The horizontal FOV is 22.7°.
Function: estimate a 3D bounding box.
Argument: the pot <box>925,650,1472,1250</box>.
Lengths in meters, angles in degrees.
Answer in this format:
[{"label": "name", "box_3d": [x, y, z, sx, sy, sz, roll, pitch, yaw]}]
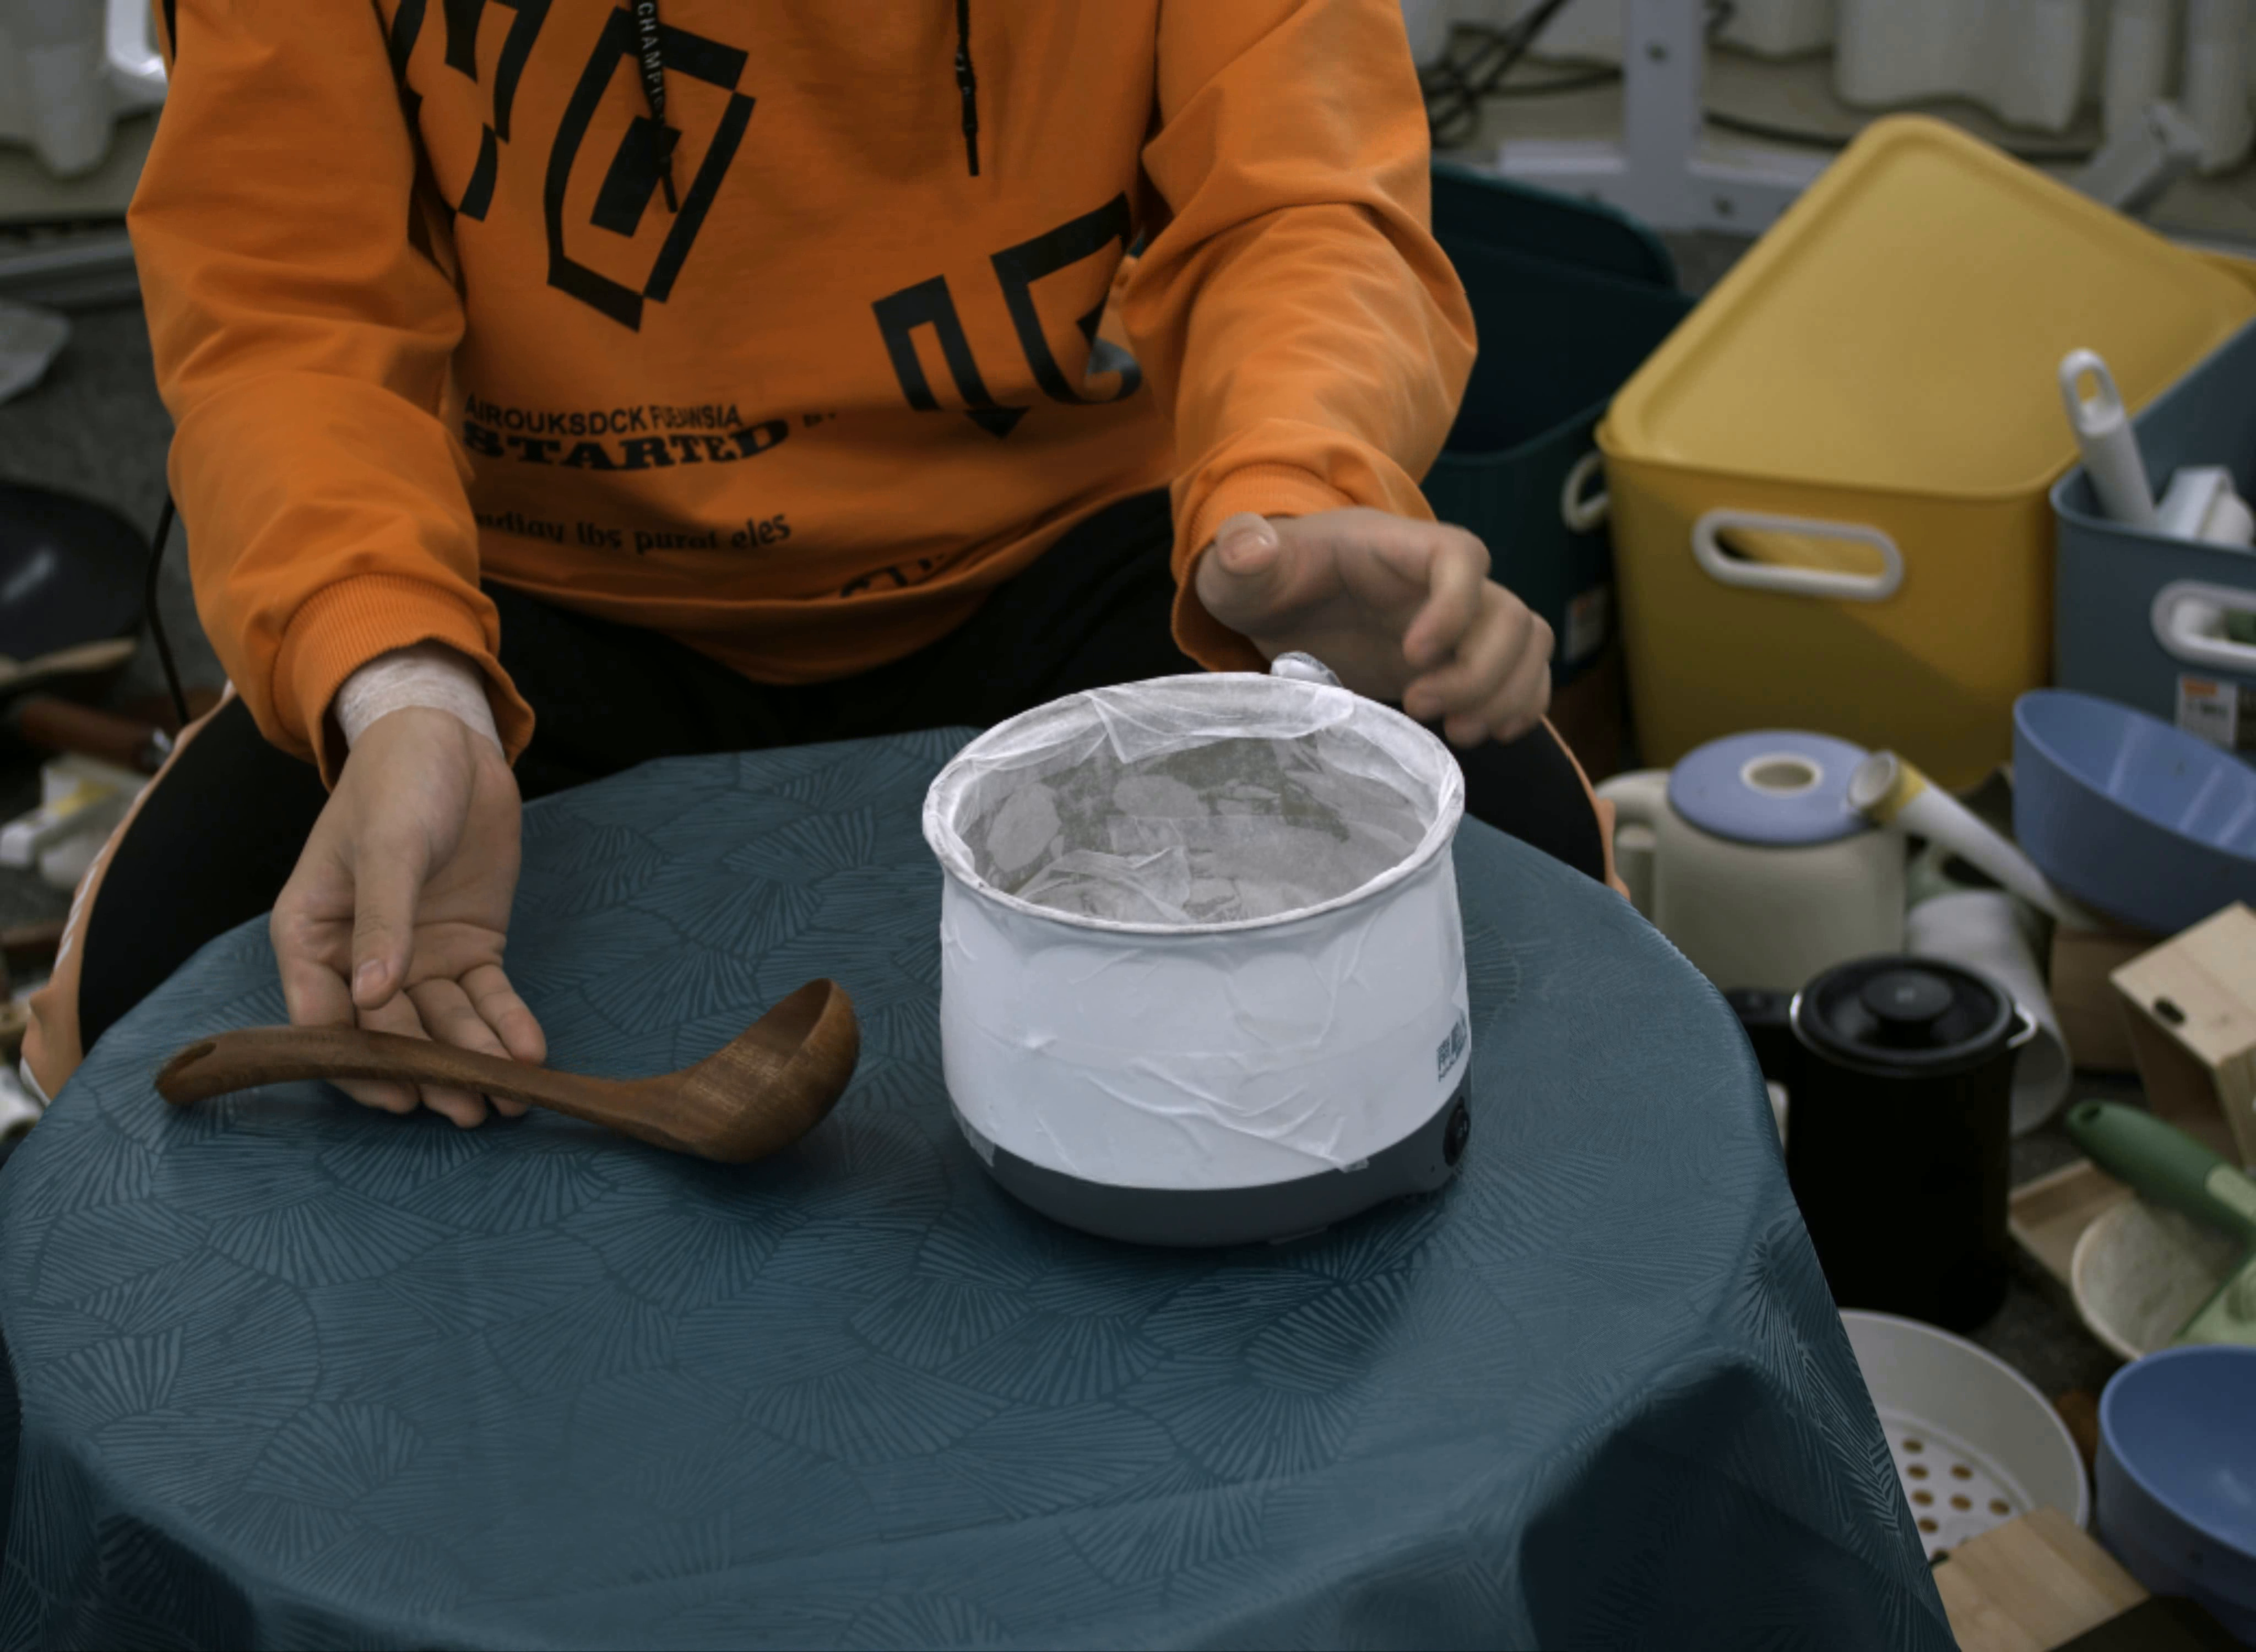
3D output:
[{"label": "pot", "box_3d": [0.034, 0.034, 1.881, 0.177, 0.135, 0.238, 7, 29, 18]}]

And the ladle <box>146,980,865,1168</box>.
[{"label": "ladle", "box_3d": [-0.214, 0.077, 1.901, 0.258, 0.064, 0.078, 5, 27, 13]}]
